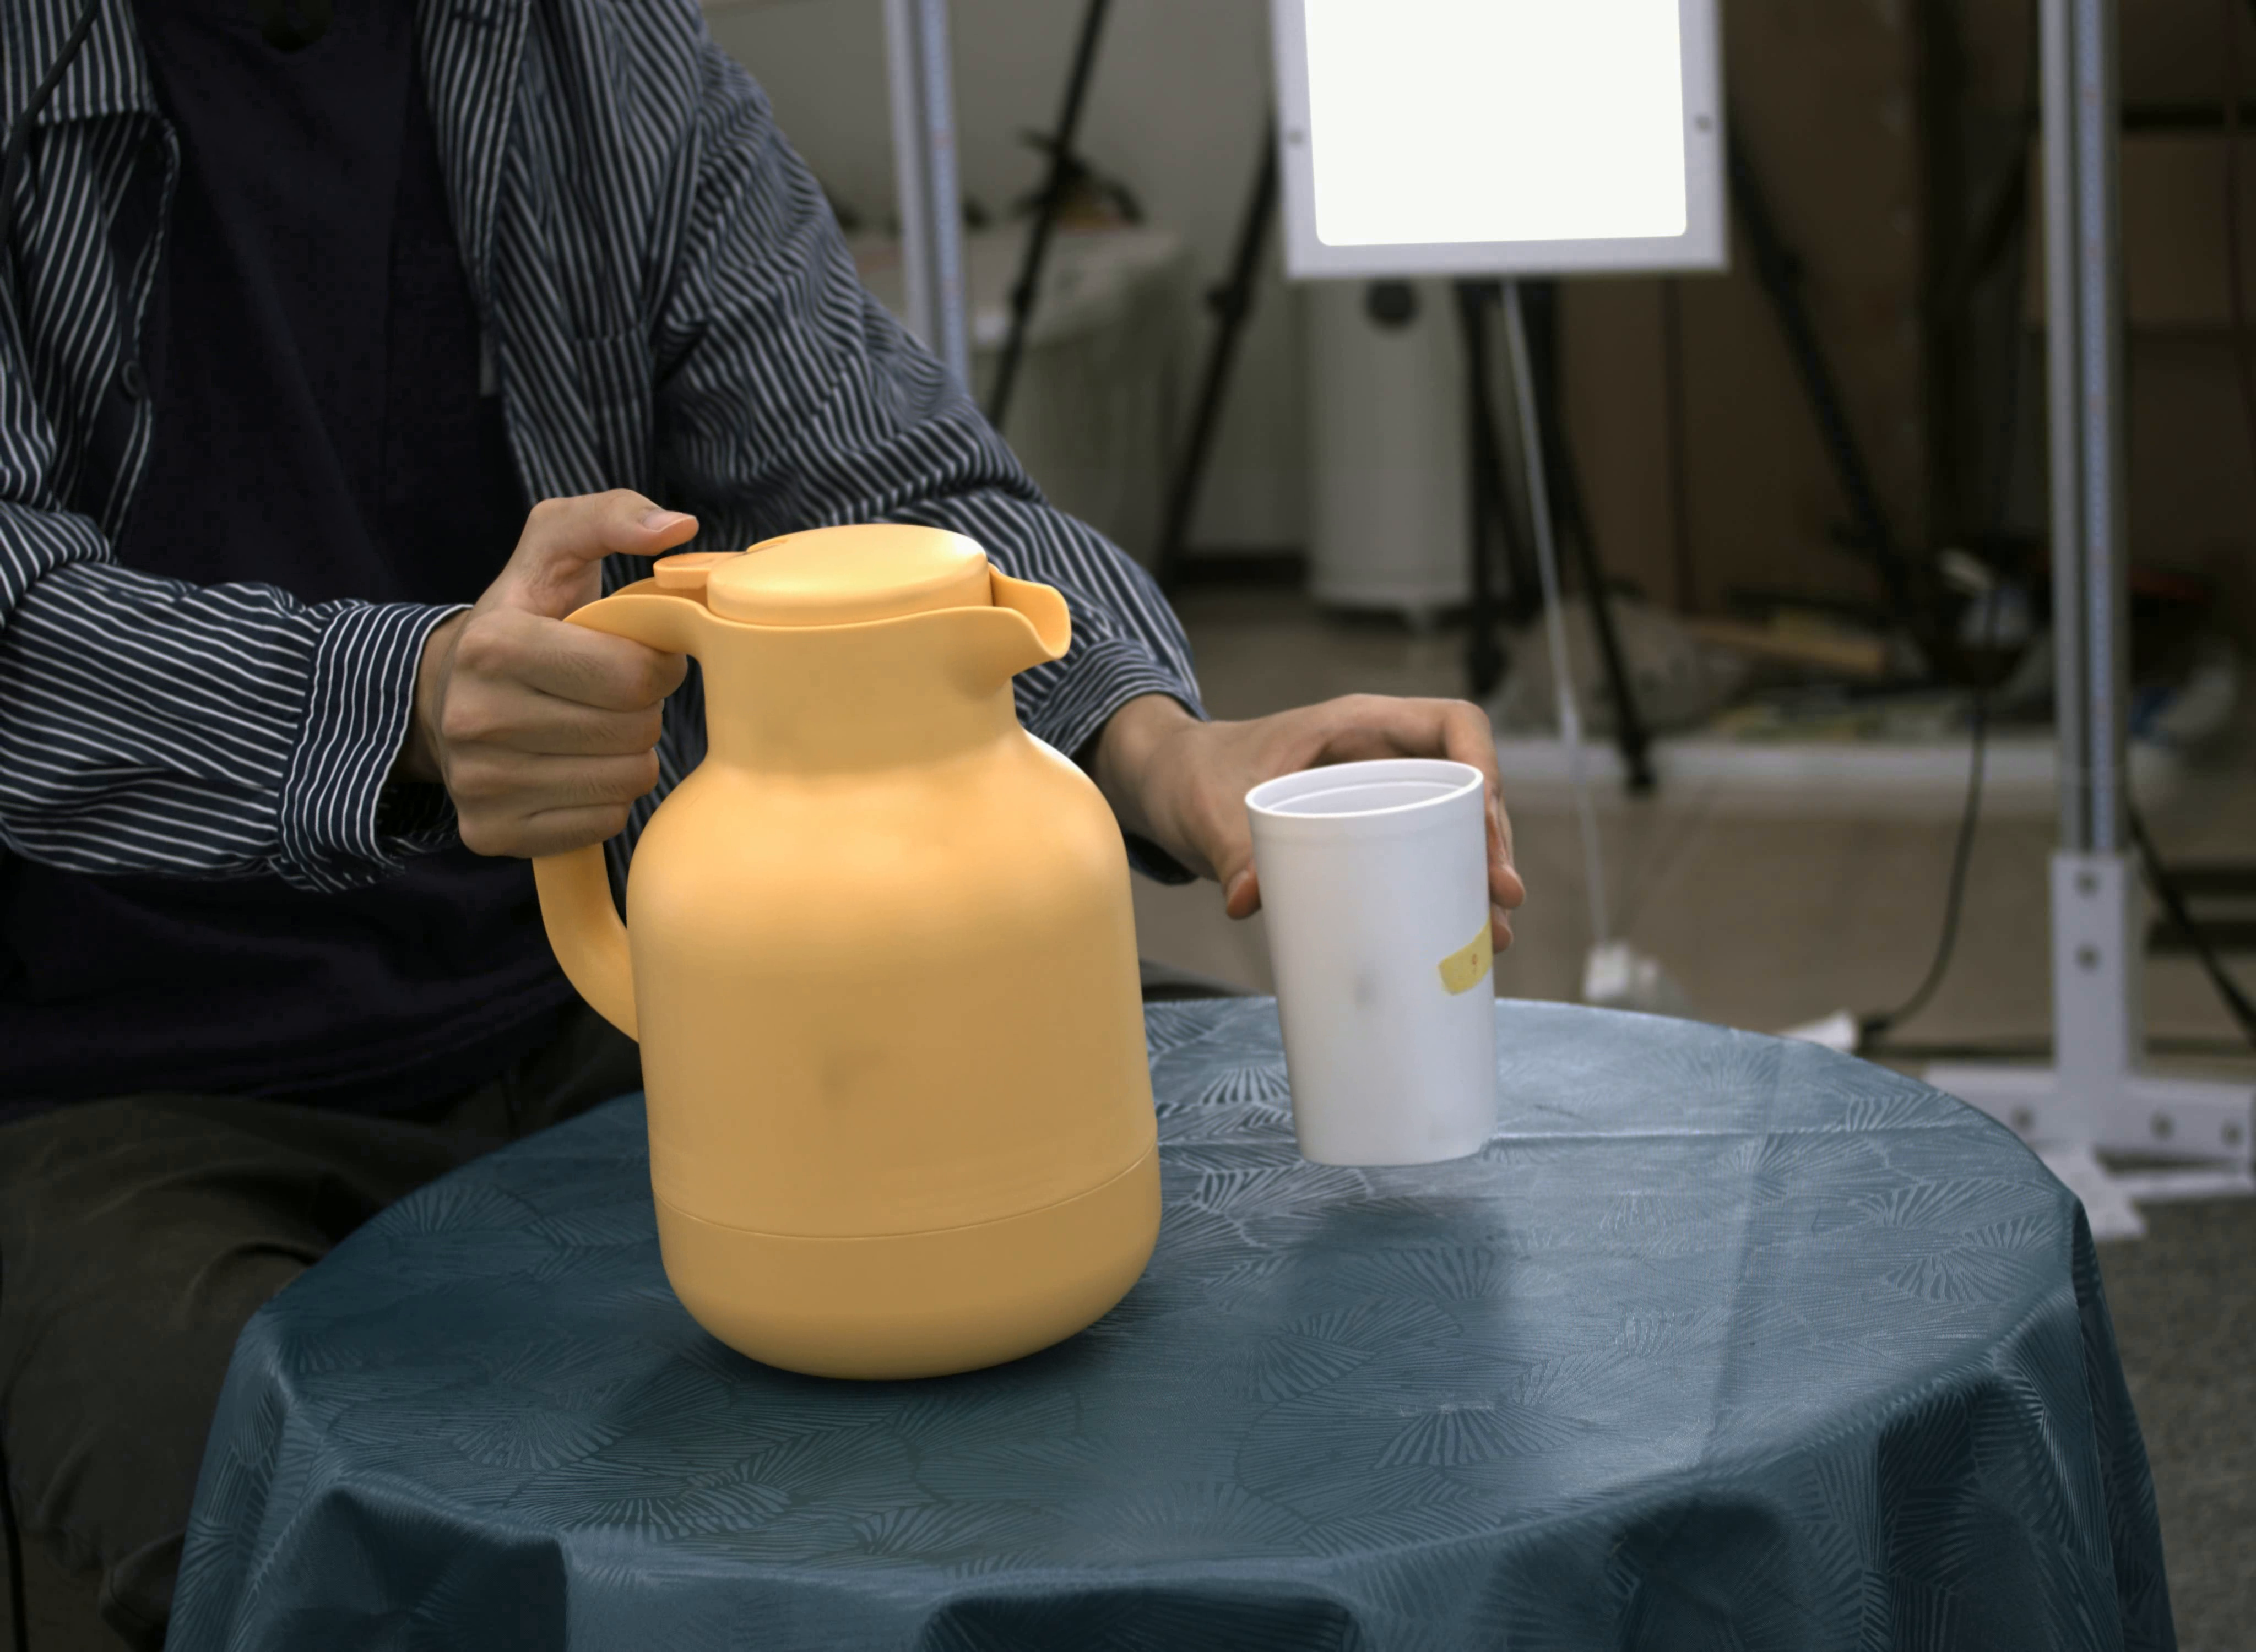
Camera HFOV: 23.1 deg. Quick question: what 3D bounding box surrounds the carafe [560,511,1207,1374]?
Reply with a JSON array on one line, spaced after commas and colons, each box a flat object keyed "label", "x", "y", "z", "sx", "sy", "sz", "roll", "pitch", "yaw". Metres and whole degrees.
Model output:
[{"label": "carafe", "x": -0.080, "y": 0.032, "z": 1.753, "sx": 0.206, "sy": 0.261, "sz": 0.160, "roll": 2, "pitch": 17, "yaw": 25}]

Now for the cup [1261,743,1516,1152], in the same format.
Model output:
[{"label": "cup", "x": 0.092, "y": 0.041, "z": 1.858, "sx": 0.081, "sy": 0.126, "sz": 0.081, "roll": -7, "pitch": 12, "yaw": 0}]
